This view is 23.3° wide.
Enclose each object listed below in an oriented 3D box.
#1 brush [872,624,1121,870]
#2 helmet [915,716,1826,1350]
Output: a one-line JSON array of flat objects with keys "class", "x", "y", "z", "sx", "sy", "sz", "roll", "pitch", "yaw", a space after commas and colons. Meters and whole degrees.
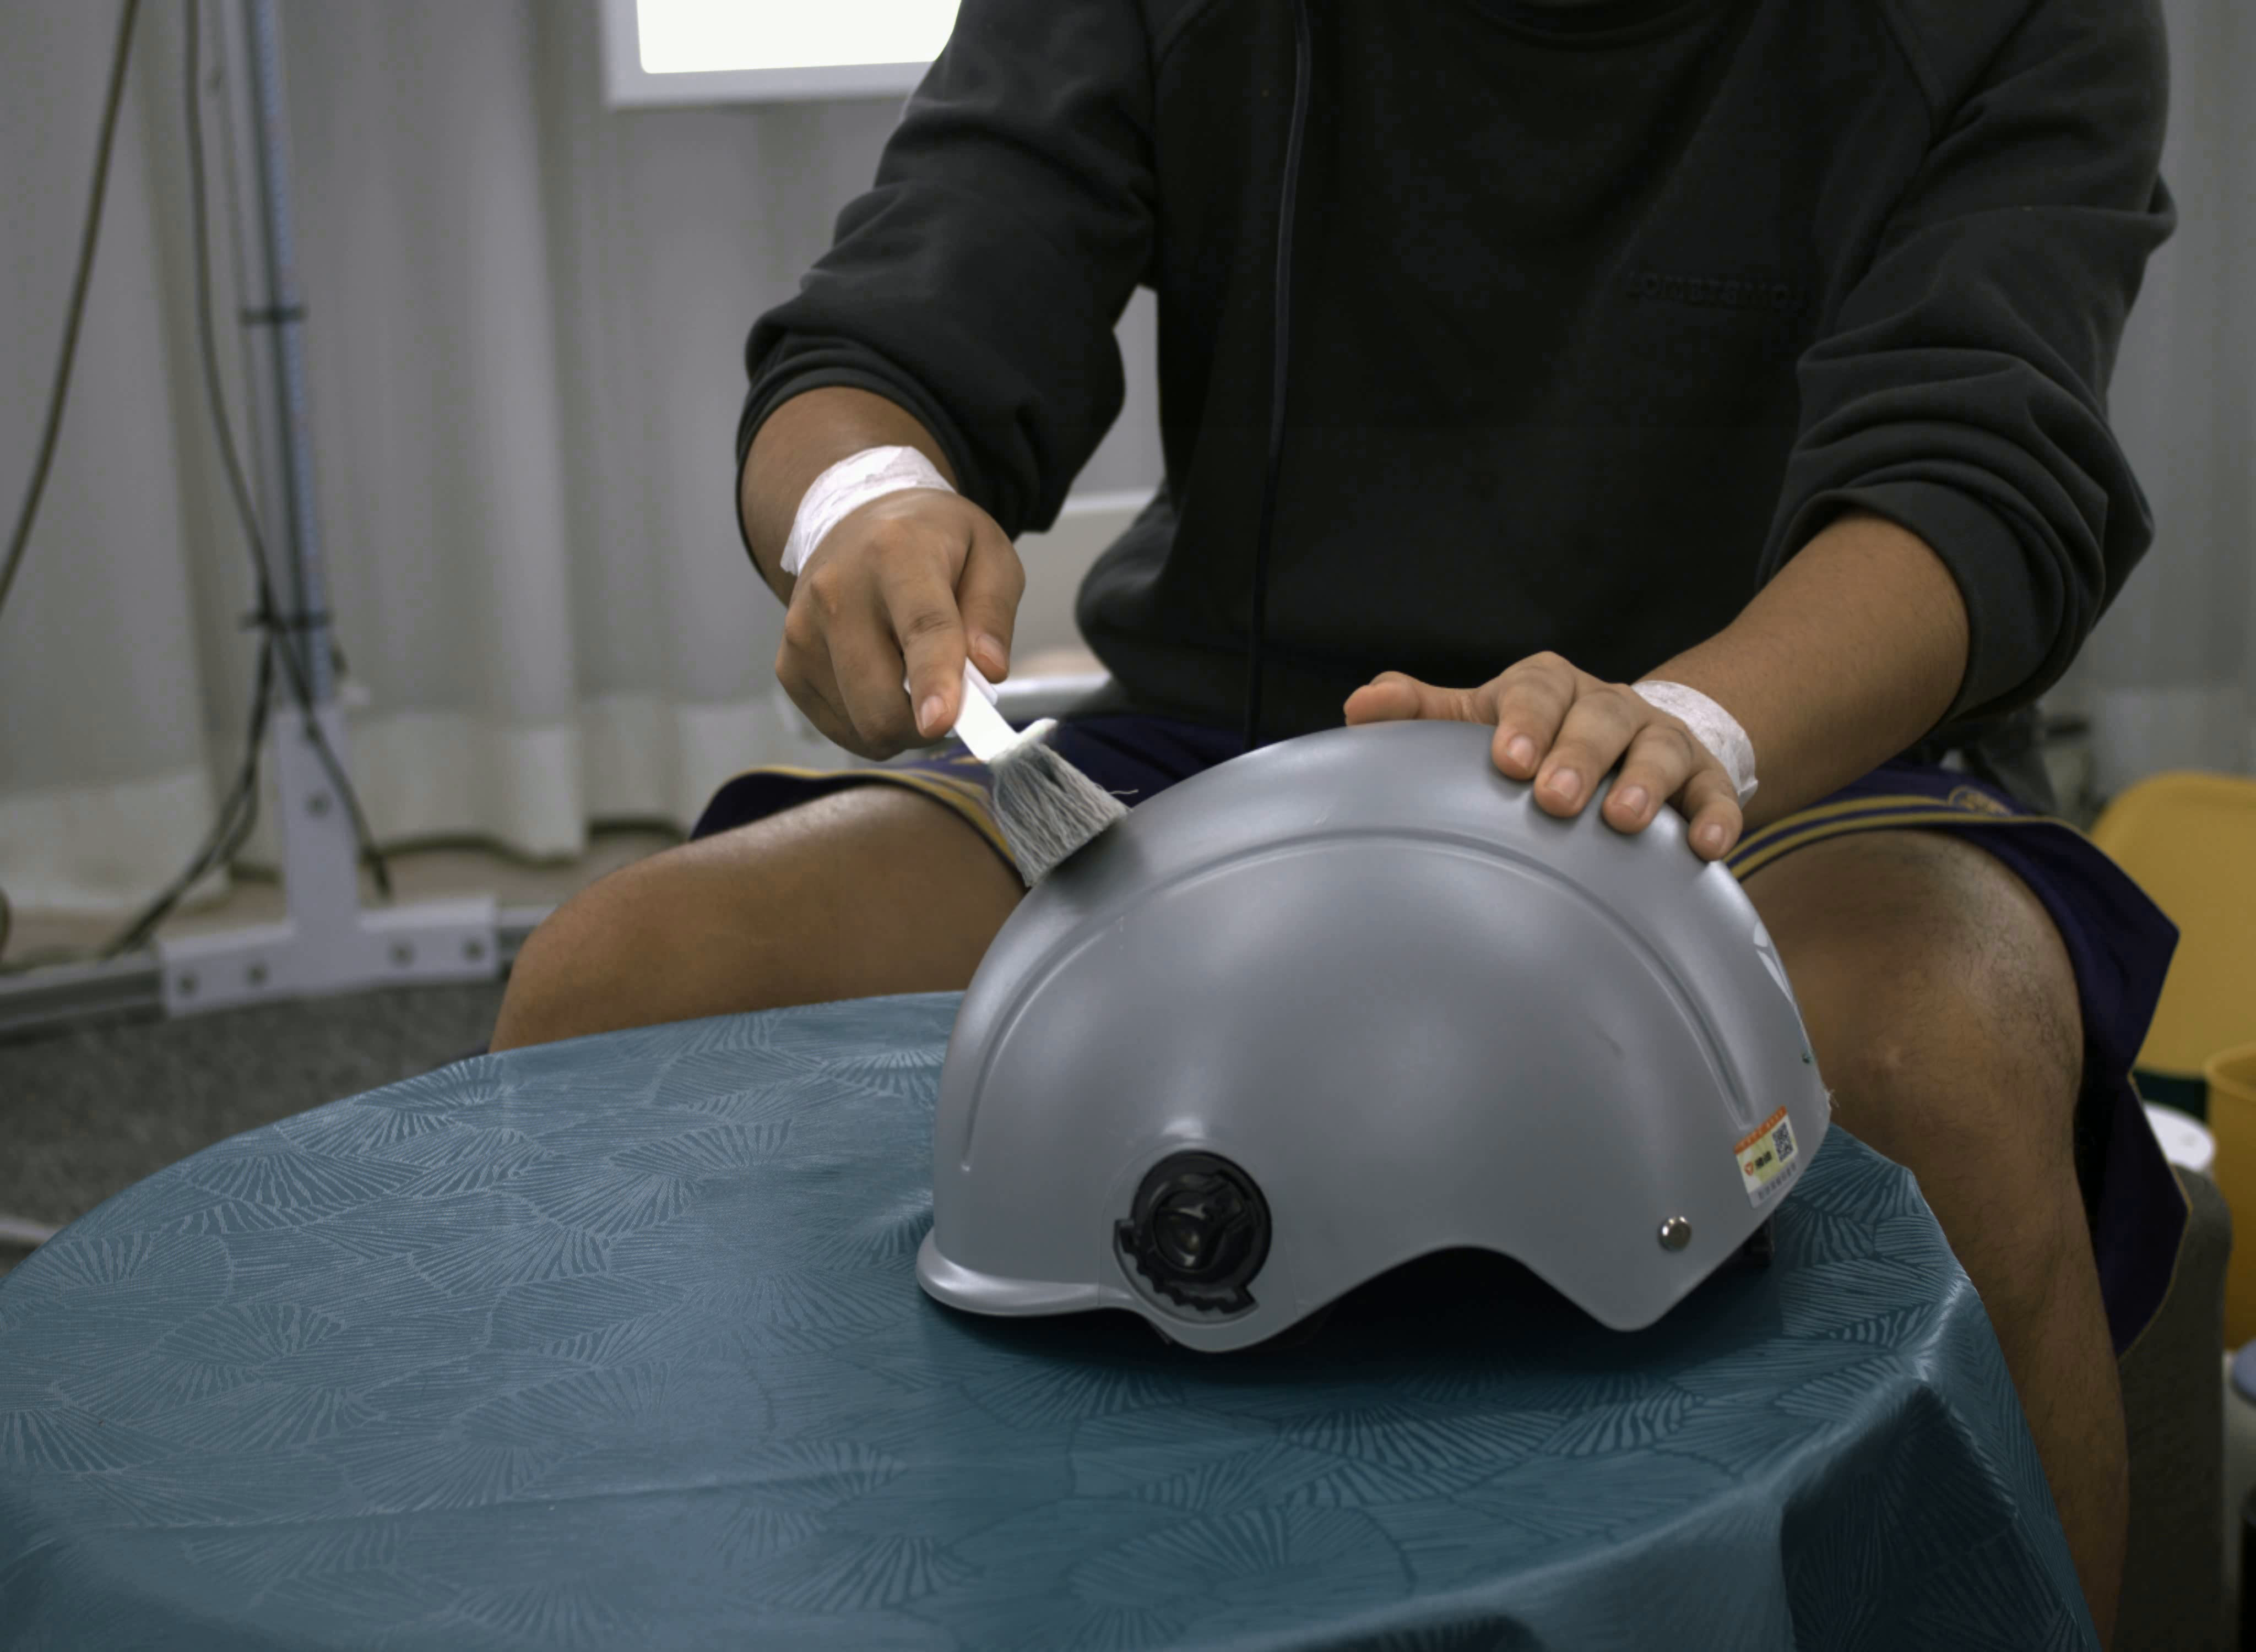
[{"class": "brush", "x": -0.042, "y": -0.025, "z": 1.688, "sx": 0.034, "sy": 0.050, "sz": 0.245, "roll": -39, "pitch": 14, "yaw": -2}, {"class": "helmet", "x": 0.067, "y": 0.053, "z": 1.625, "sx": 0.276, "sy": 0.168, "sz": 0.233, "roll": -2, "pitch": 13, "yaw": 11}]
